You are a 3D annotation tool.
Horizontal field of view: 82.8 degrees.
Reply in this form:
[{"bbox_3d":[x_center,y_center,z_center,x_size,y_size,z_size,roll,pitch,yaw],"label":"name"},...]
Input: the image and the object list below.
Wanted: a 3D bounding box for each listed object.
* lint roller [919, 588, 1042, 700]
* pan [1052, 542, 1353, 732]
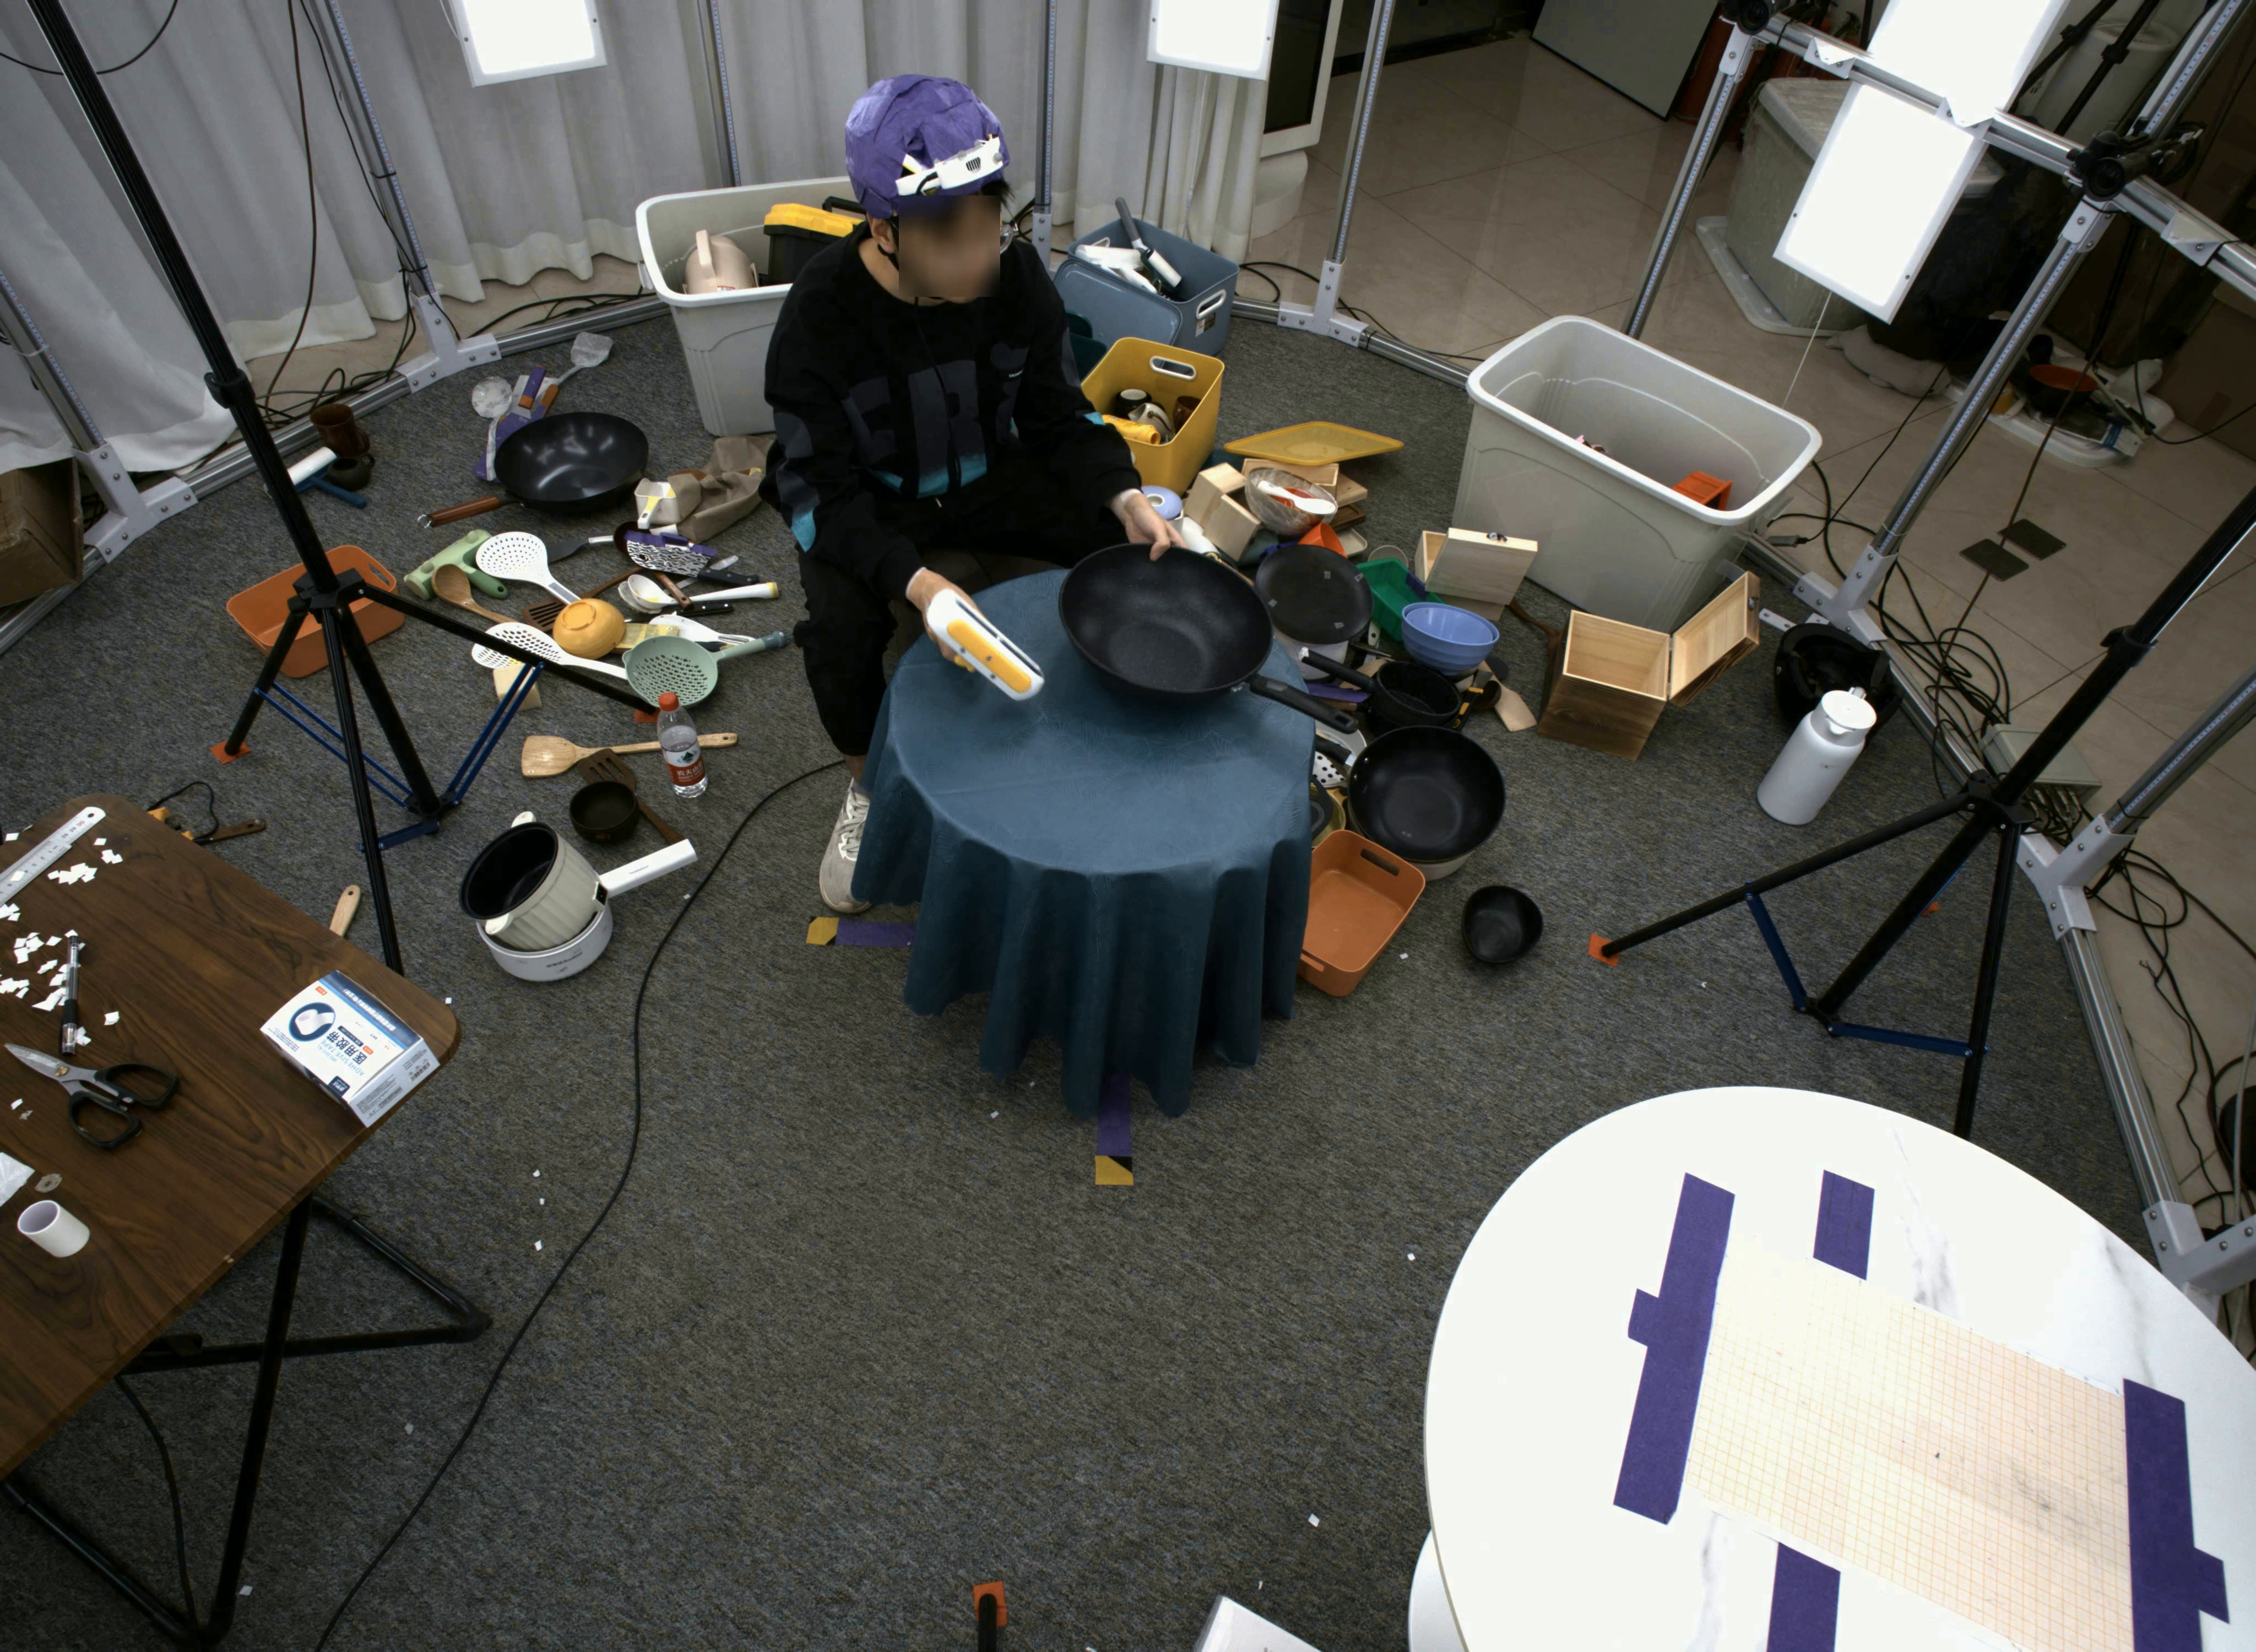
[{"bbox_3d":[-0.213,-0.264,1.775,0.190,0.073,0.196,33,16,-27],"label":"lint roller"},{"bbox_3d":[0.107,-0.235,1.809,0.482,0.109,0.313,37,55,21],"label":"pan"}]
